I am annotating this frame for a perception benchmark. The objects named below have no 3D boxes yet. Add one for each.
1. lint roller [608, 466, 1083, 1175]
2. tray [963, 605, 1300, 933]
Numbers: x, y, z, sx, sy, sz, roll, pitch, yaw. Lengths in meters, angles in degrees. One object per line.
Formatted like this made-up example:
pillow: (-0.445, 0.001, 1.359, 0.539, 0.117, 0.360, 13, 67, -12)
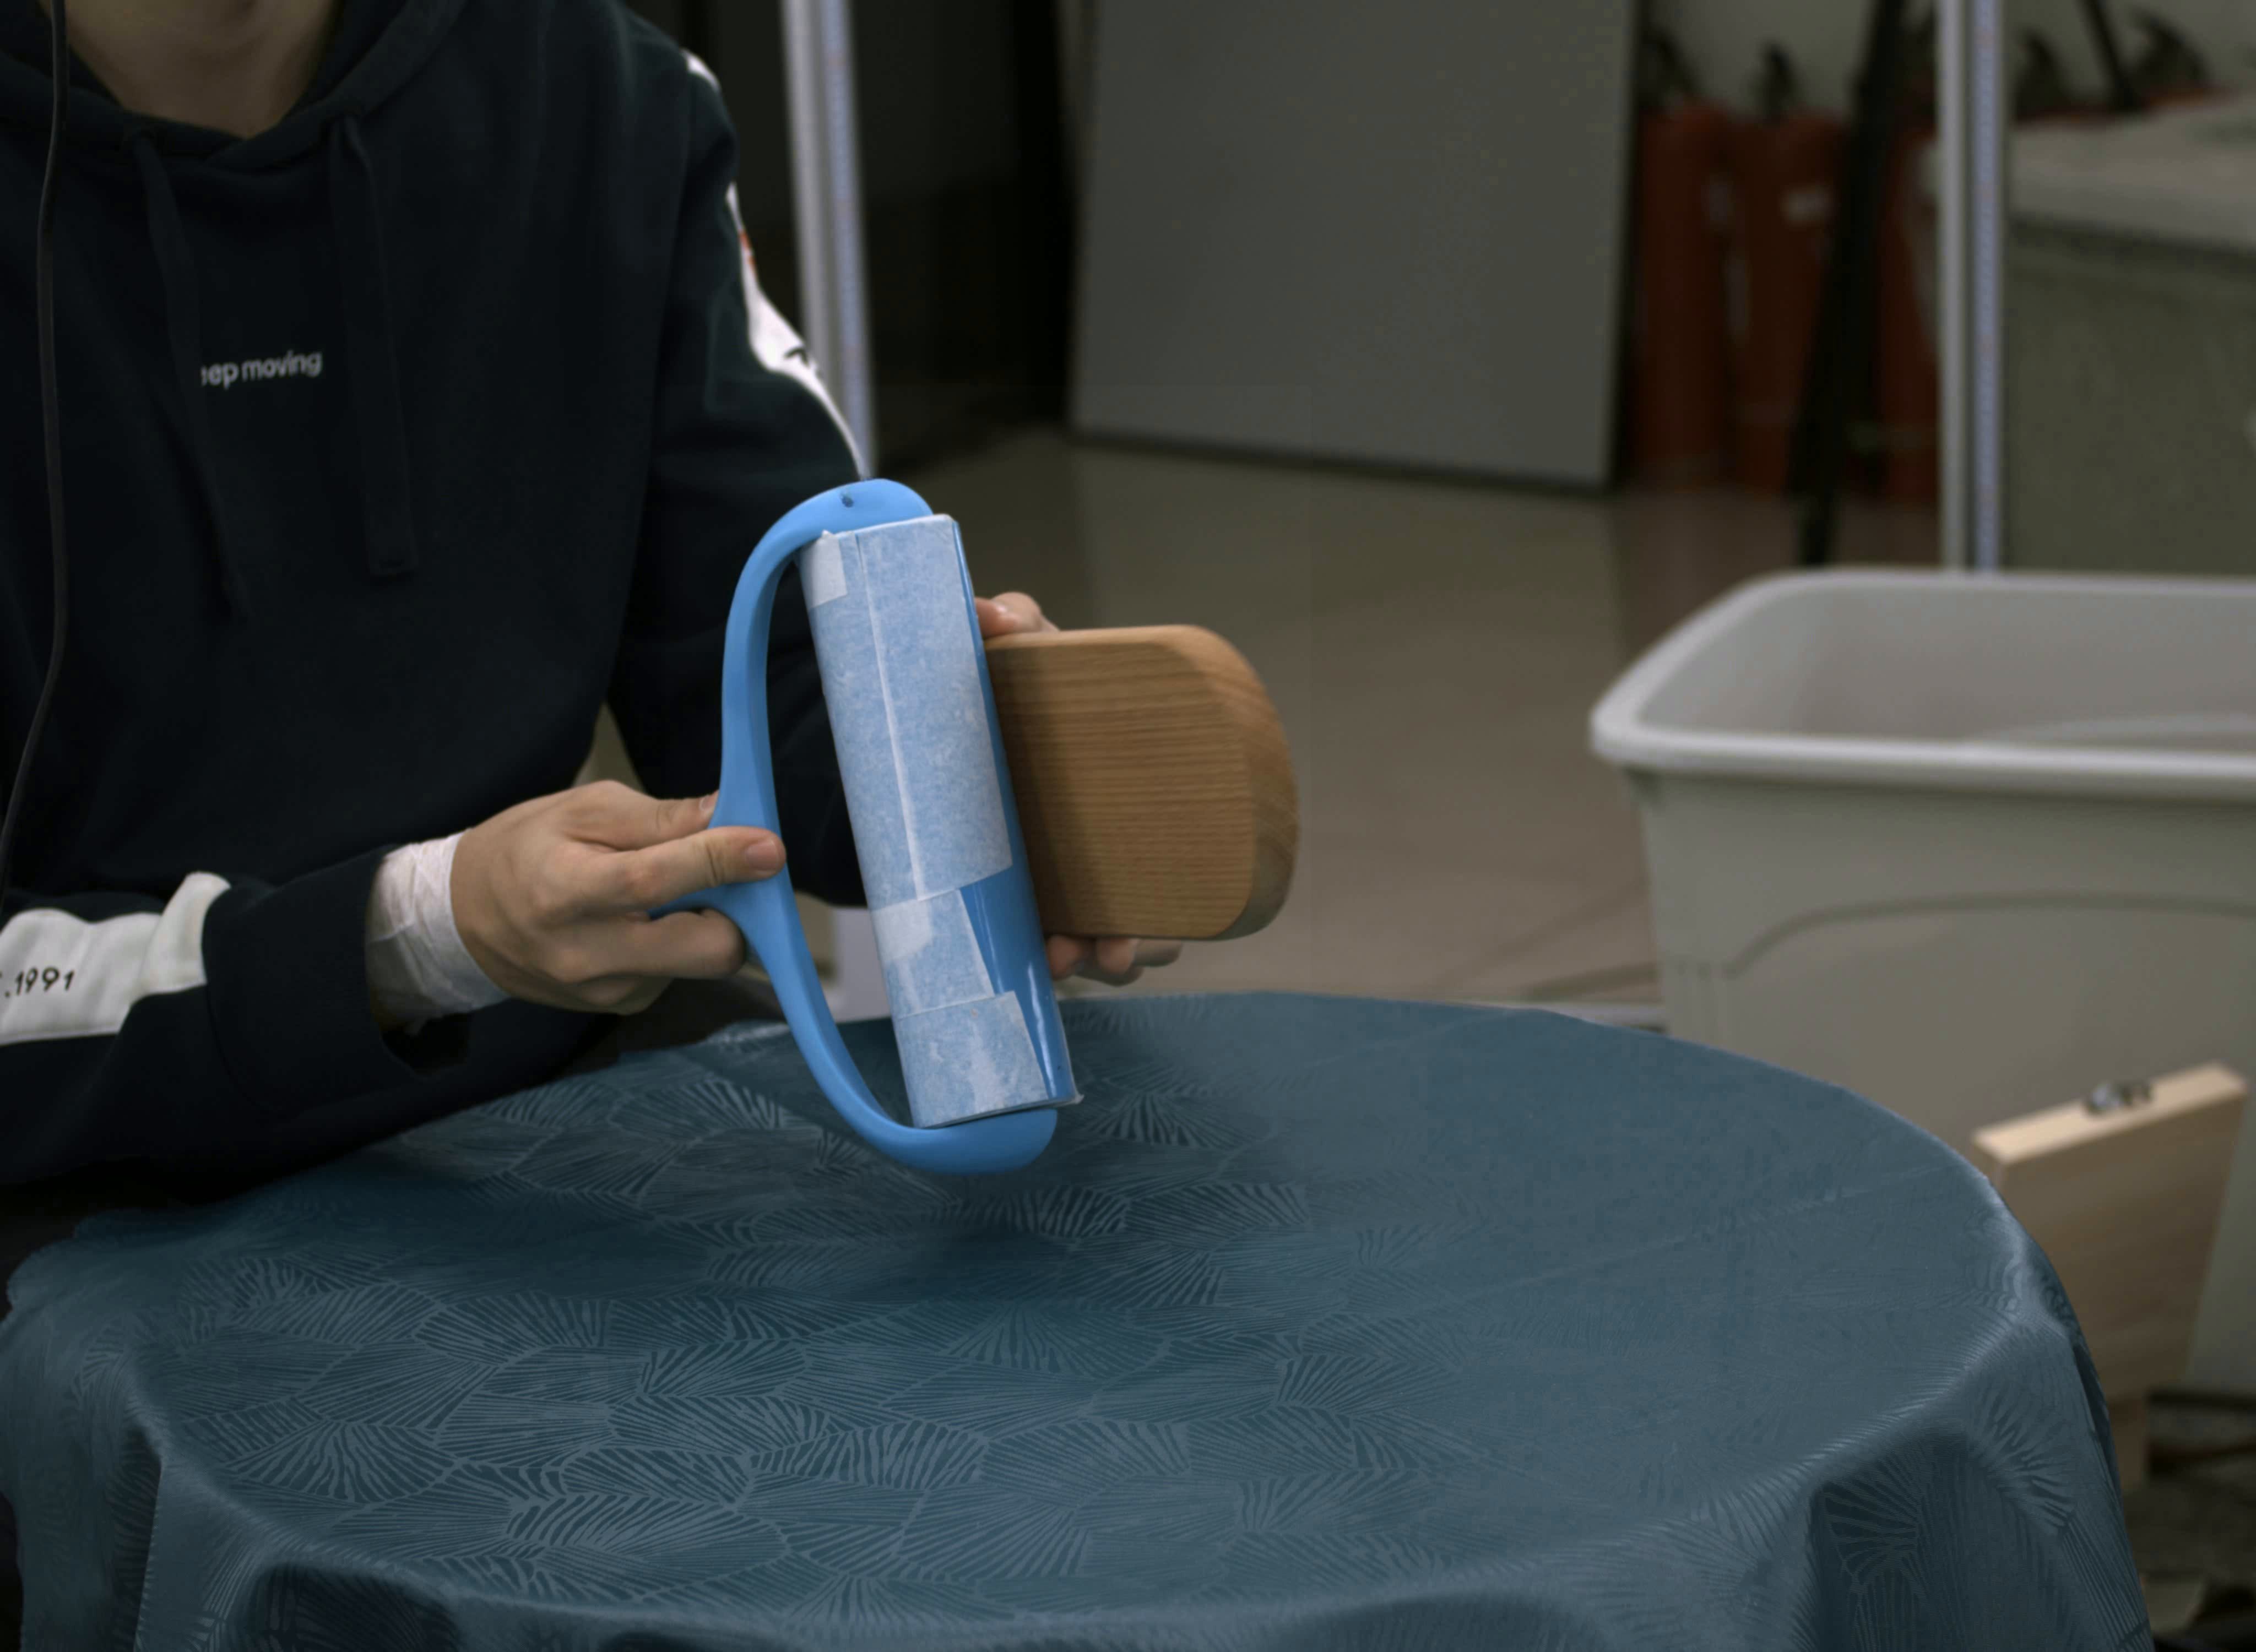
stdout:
lint roller: (-0.110, 0.014, 1.761, 0.181, 0.232, 0.067, -18, -7, 29)
tray: (-0.016, -0.017, 1.726, 0.020, 0.103, 0.233, -10, 6, -33)
